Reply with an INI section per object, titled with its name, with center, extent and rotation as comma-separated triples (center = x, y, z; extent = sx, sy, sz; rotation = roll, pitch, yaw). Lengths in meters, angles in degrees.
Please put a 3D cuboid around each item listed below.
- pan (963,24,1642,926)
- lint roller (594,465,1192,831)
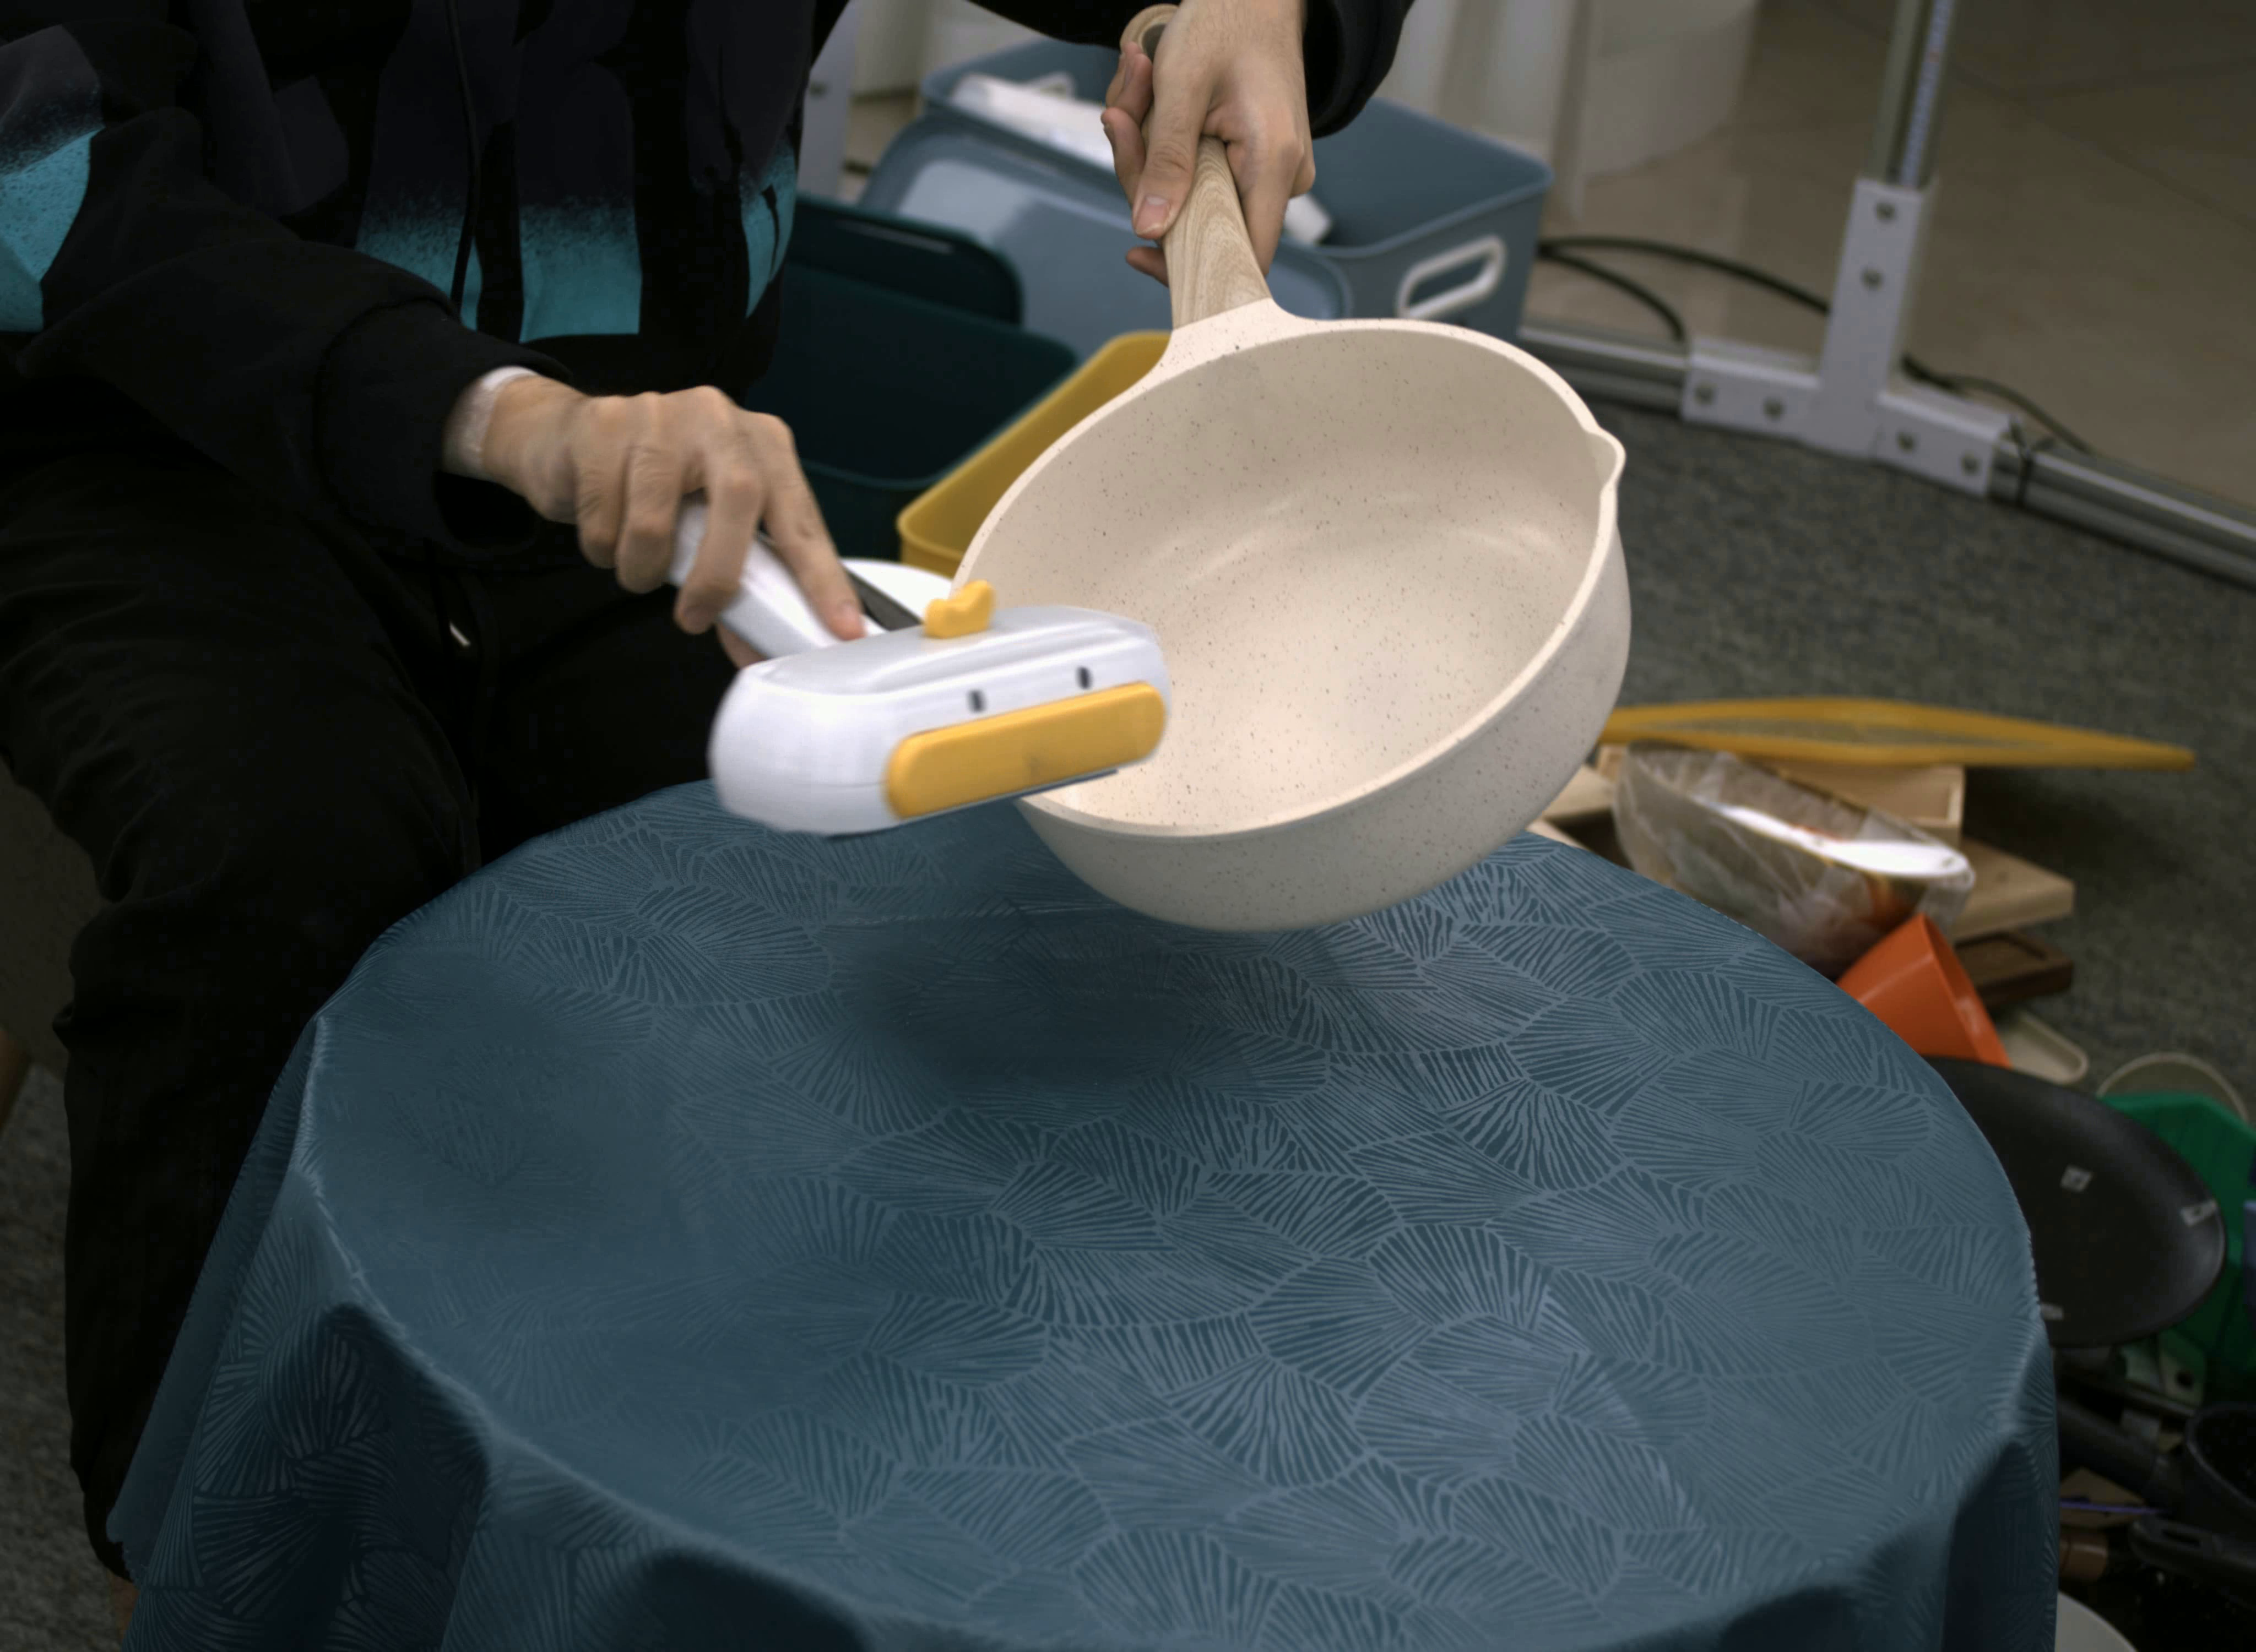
[pan]
center = 0.053, -0.135, 1.965
extent = 0.263, 0.101, 0.439
rotation = -21, 42, 10
[lint roller]
center = -0.098, -0.064, 1.766
extent = 0.193, 0.074, 0.192
rotation = 22, 25, 28
